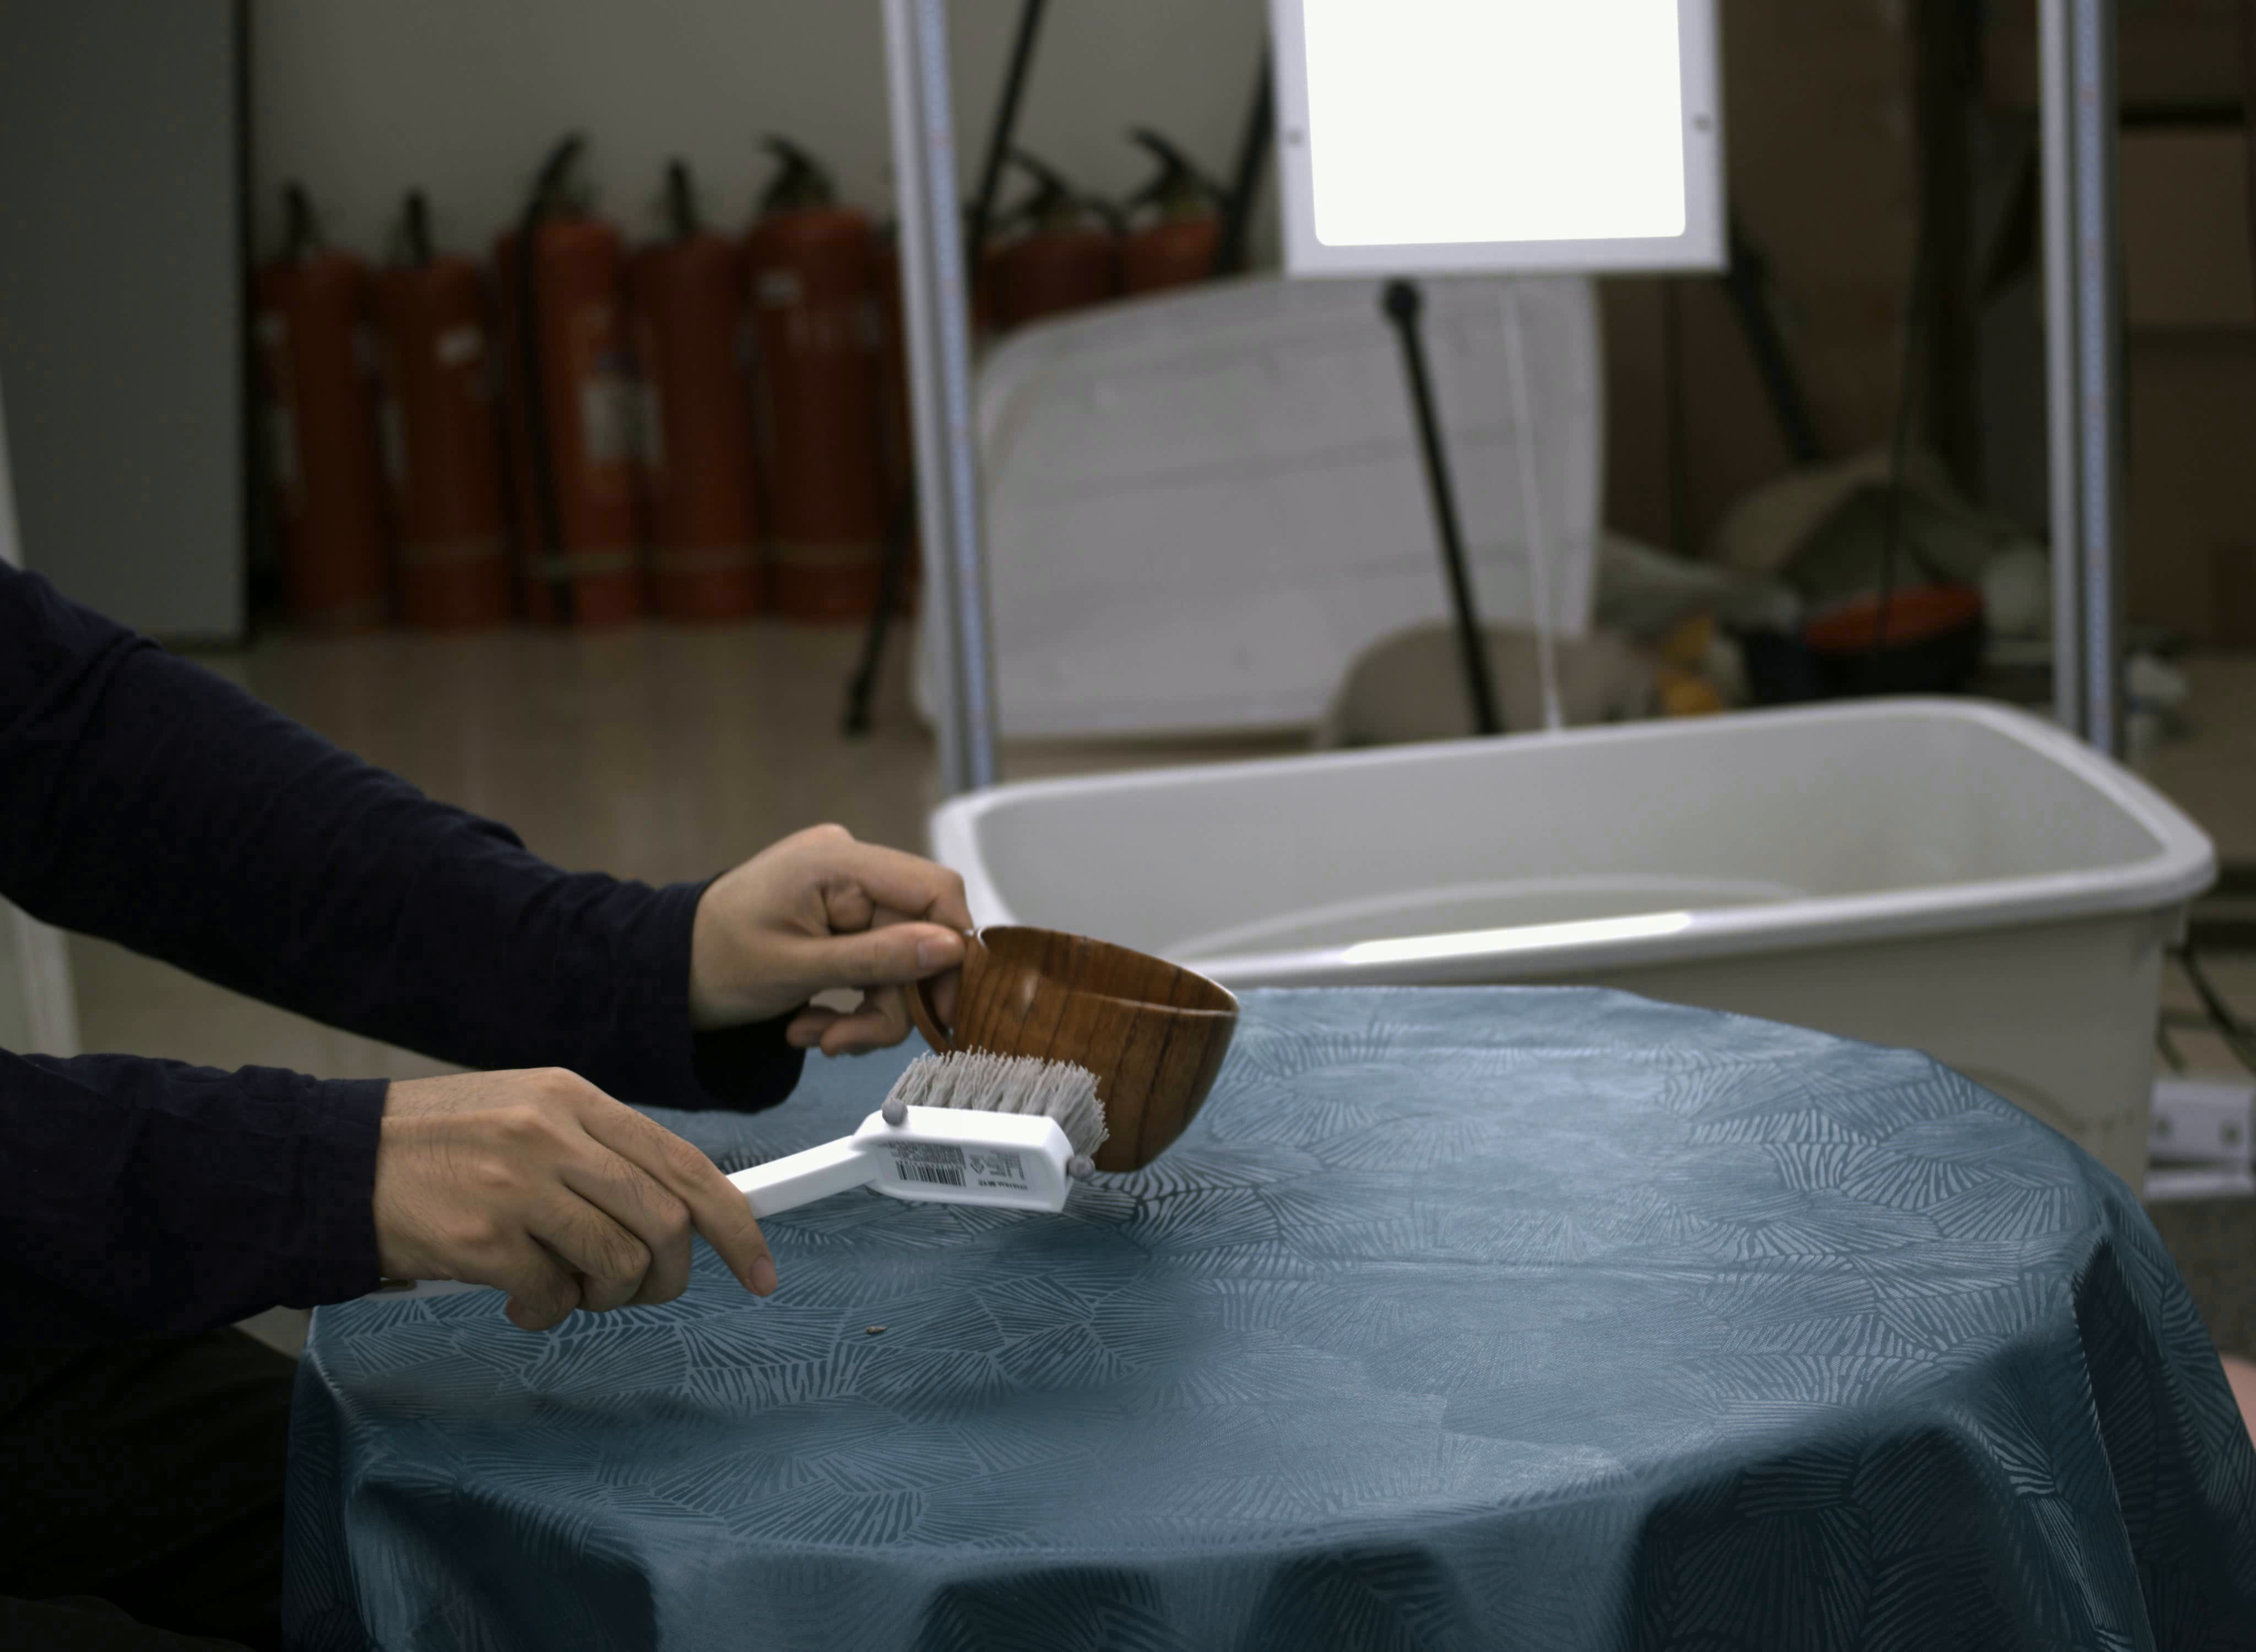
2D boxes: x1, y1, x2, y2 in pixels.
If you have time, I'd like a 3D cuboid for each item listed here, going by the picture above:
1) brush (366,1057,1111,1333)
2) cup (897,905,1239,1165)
[{"bbox_3d":[-0.124,0.114,1.739,0.246,0.034,0.050,-12,44,14],"label":"brush"},{"bbox_3d":[-0.027,0.070,1.887,0.120,0.068,0.094,22,12,17],"label":"cup"}]
